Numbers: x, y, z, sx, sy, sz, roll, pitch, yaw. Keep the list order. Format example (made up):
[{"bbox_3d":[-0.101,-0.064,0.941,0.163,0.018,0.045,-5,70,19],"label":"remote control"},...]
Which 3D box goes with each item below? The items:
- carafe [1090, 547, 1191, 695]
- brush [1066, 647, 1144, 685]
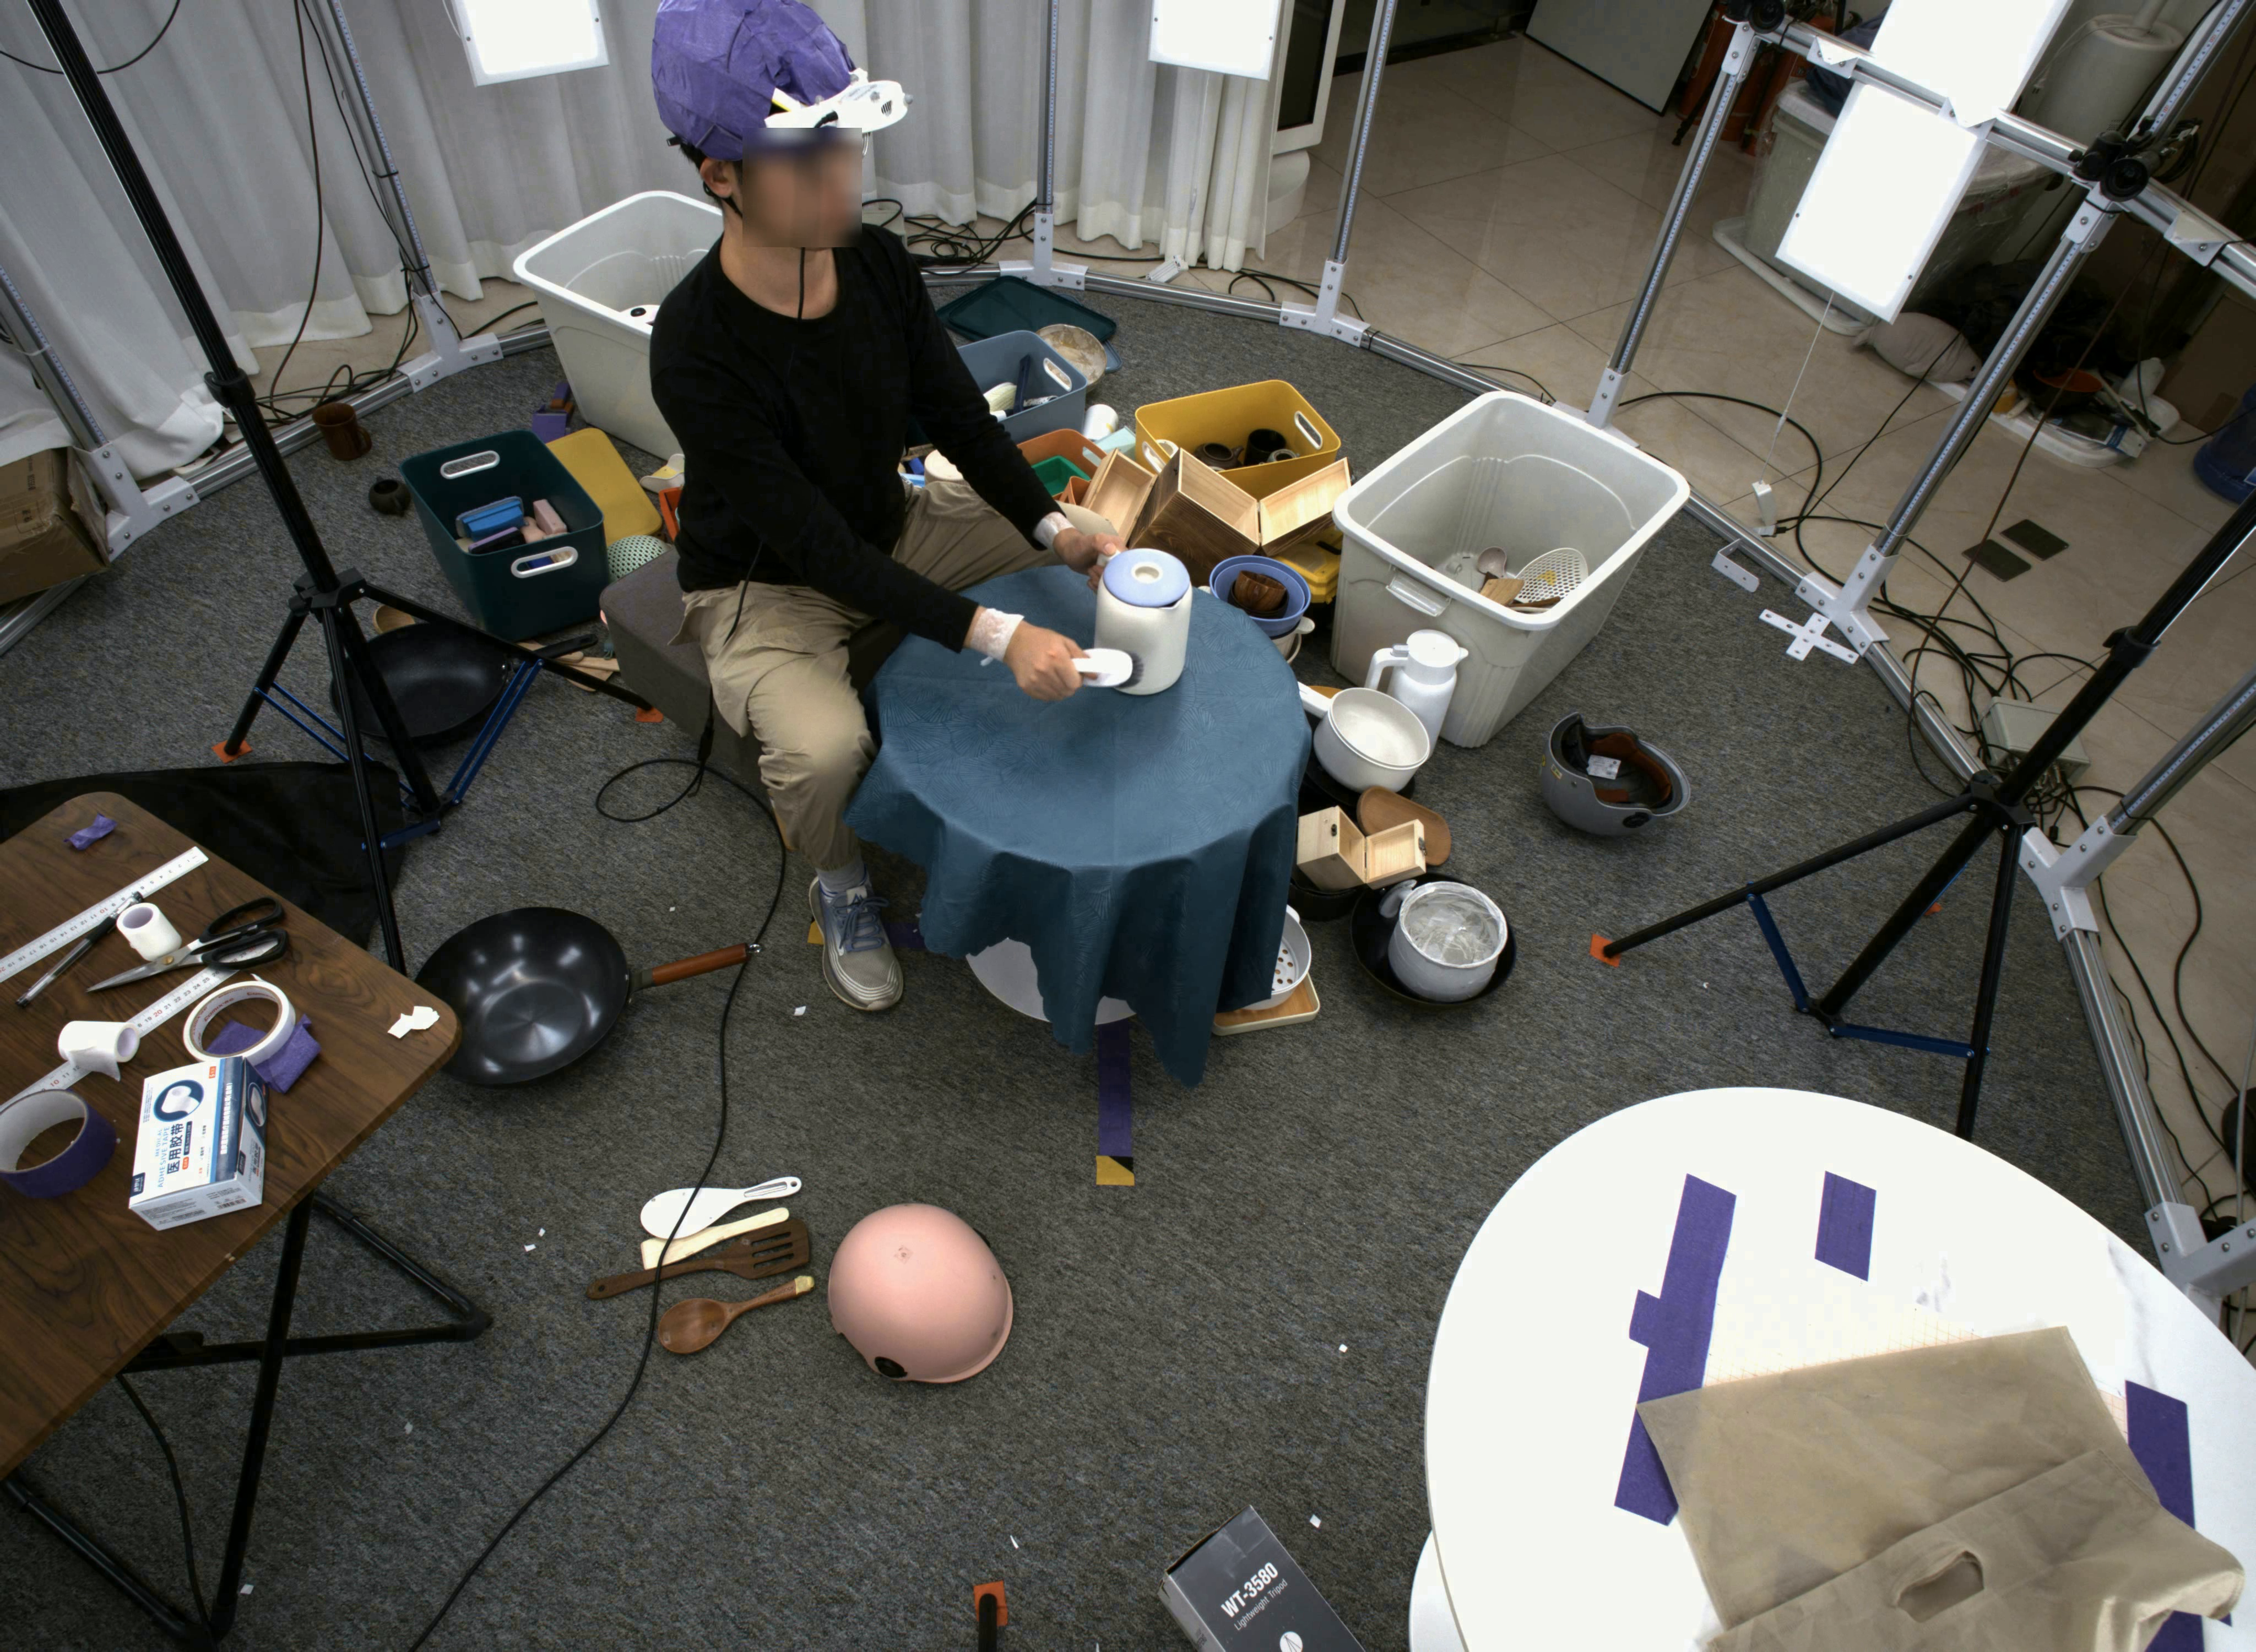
[{"bbox_3d":[0.006,-0.304,1.824,0.133,0.178,0.195,-25,54,-23],"label":"carafe"},{"bbox_3d":[-0.038,-0.212,1.695,0.100,0.050,0.072,8,8,37],"label":"brush"}]
